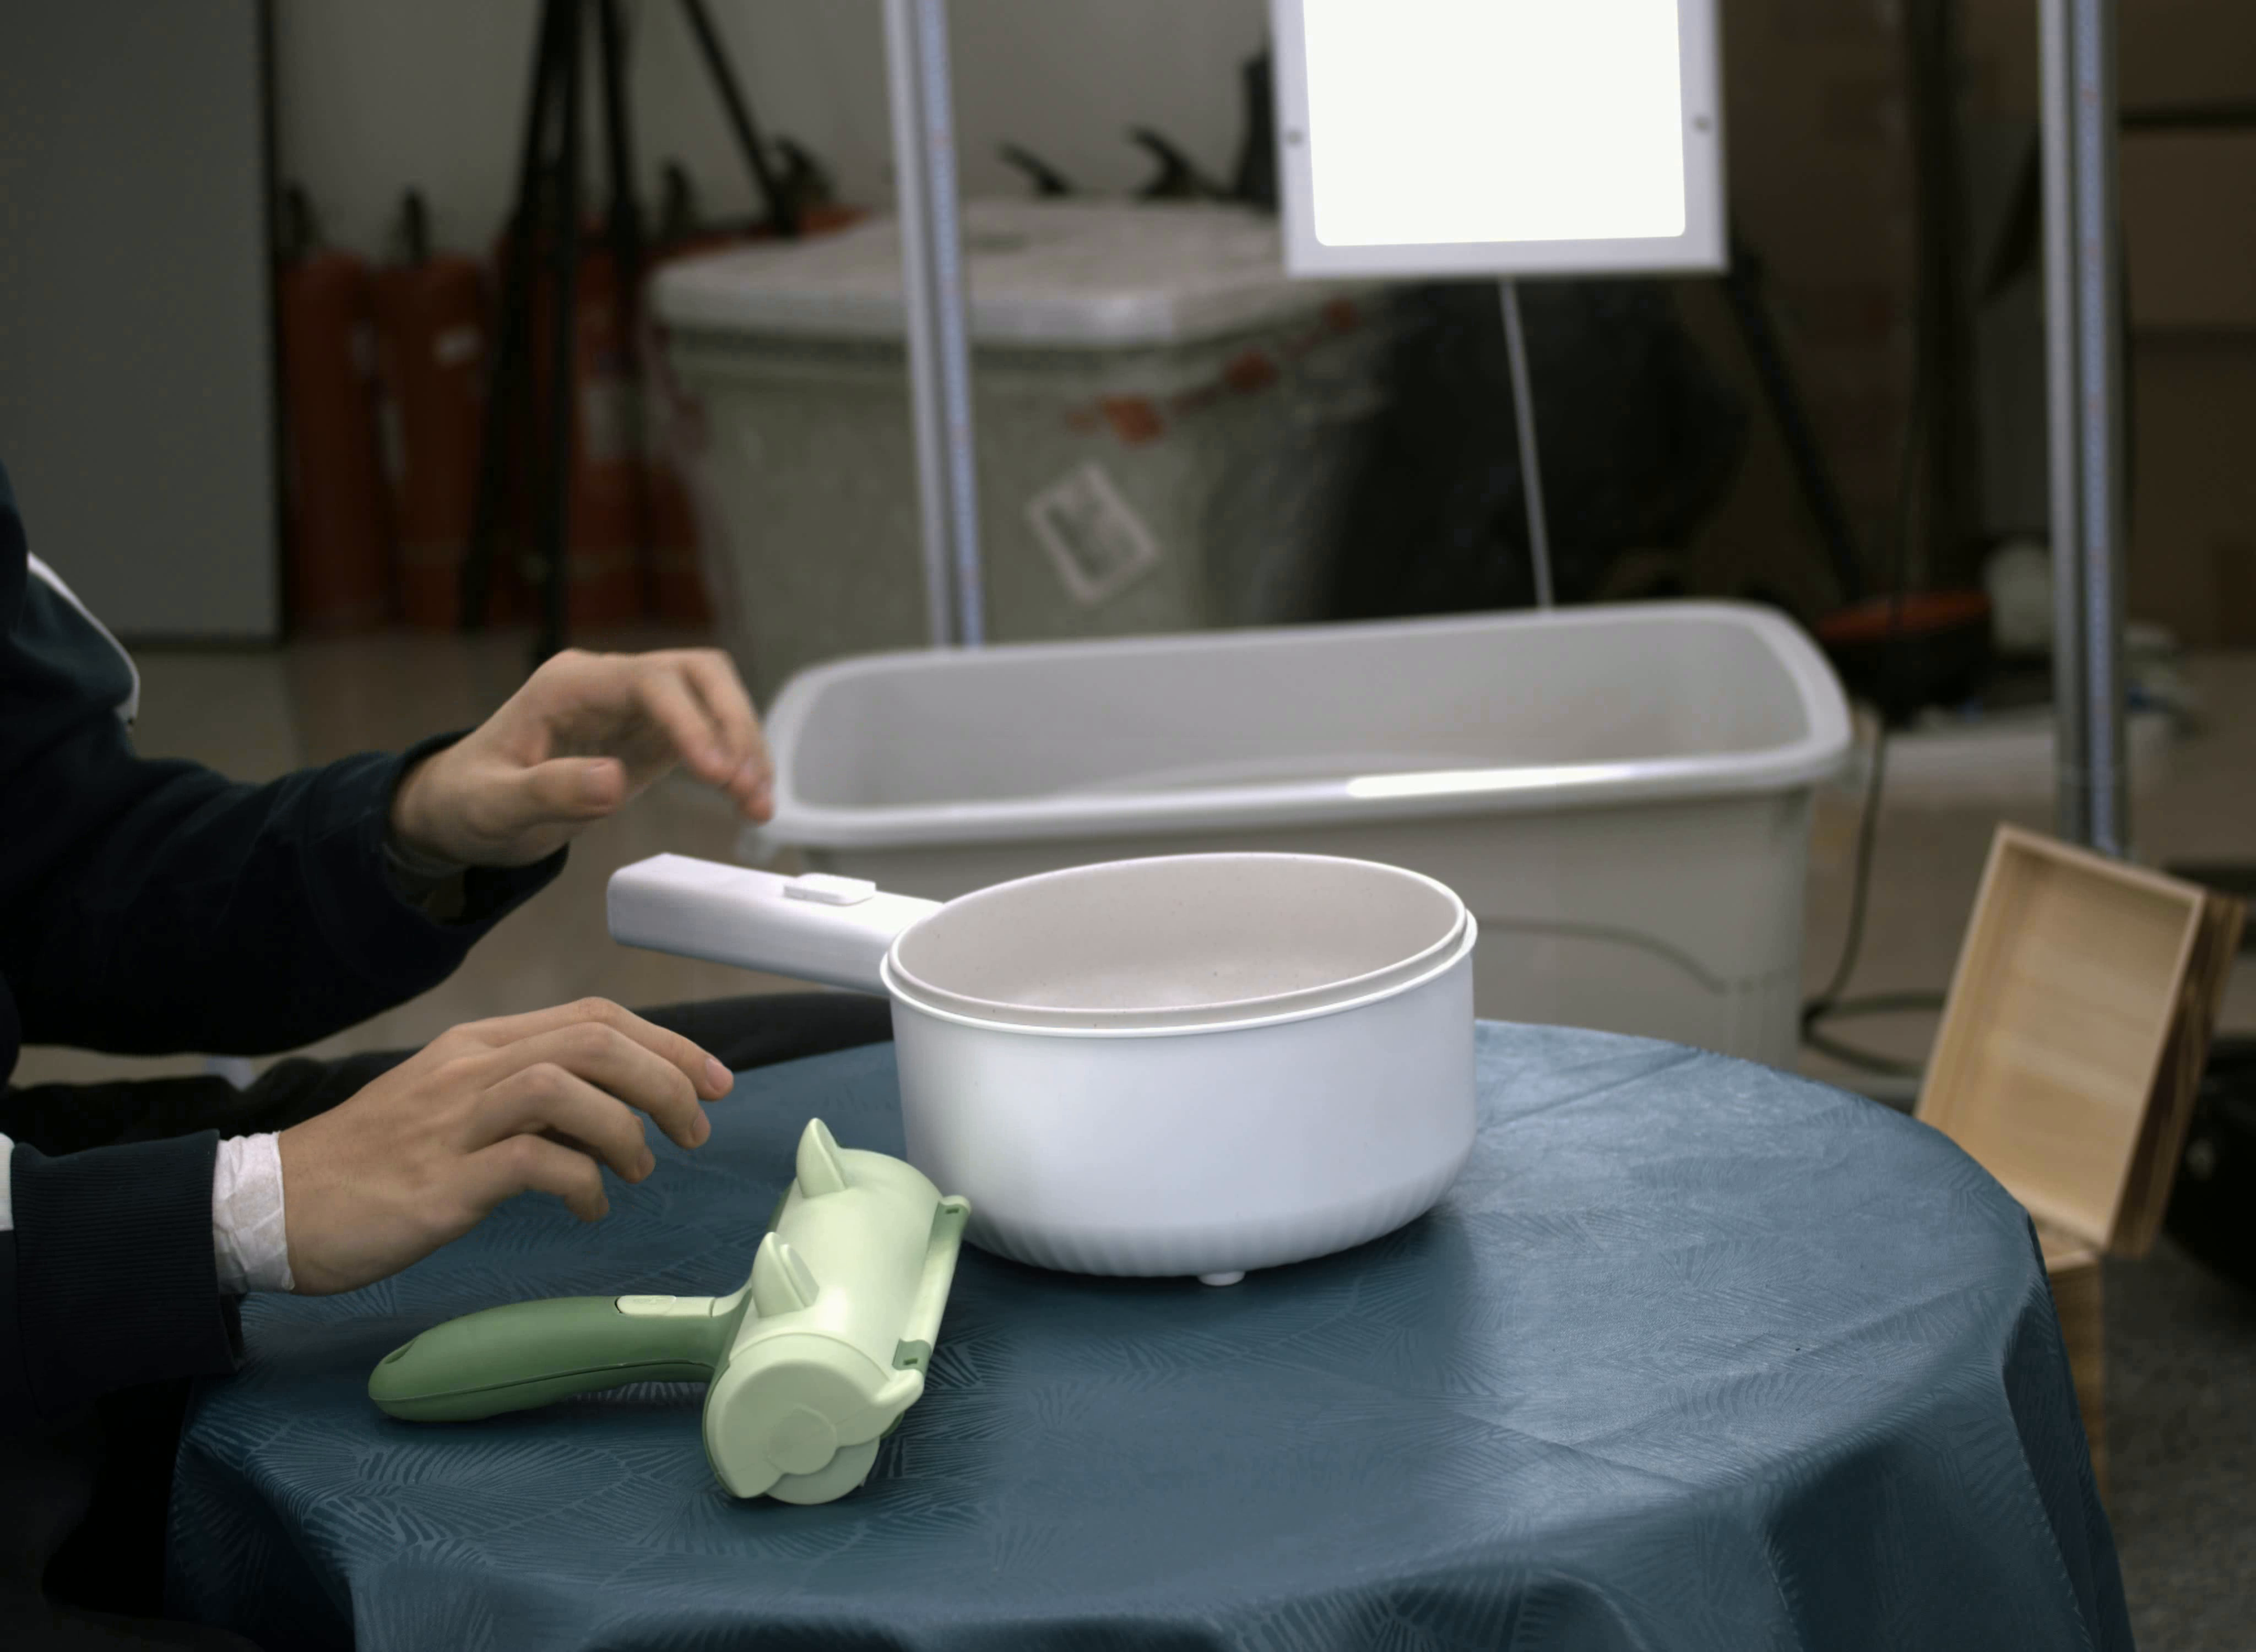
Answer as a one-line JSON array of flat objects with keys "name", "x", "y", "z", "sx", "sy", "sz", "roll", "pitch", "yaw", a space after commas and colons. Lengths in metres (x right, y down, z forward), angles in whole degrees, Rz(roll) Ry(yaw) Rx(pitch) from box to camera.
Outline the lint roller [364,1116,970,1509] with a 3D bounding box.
[{"name": "lint roller", "x": -0.147, "y": 0.145, "z": 1.714, "sx": 0.183, "sy": 0.082, "sz": 0.197, "roll": 2, "pitch": 15, "yaw": 4}]

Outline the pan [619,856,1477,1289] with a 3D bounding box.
[{"name": "pan", "x": -0.038, "y": 0.077, "z": 1.906, "sx": 0.362, "sy": 0.102, "sz": 0.196, "roll": 6, "pitch": 18, "yaw": 42}]
